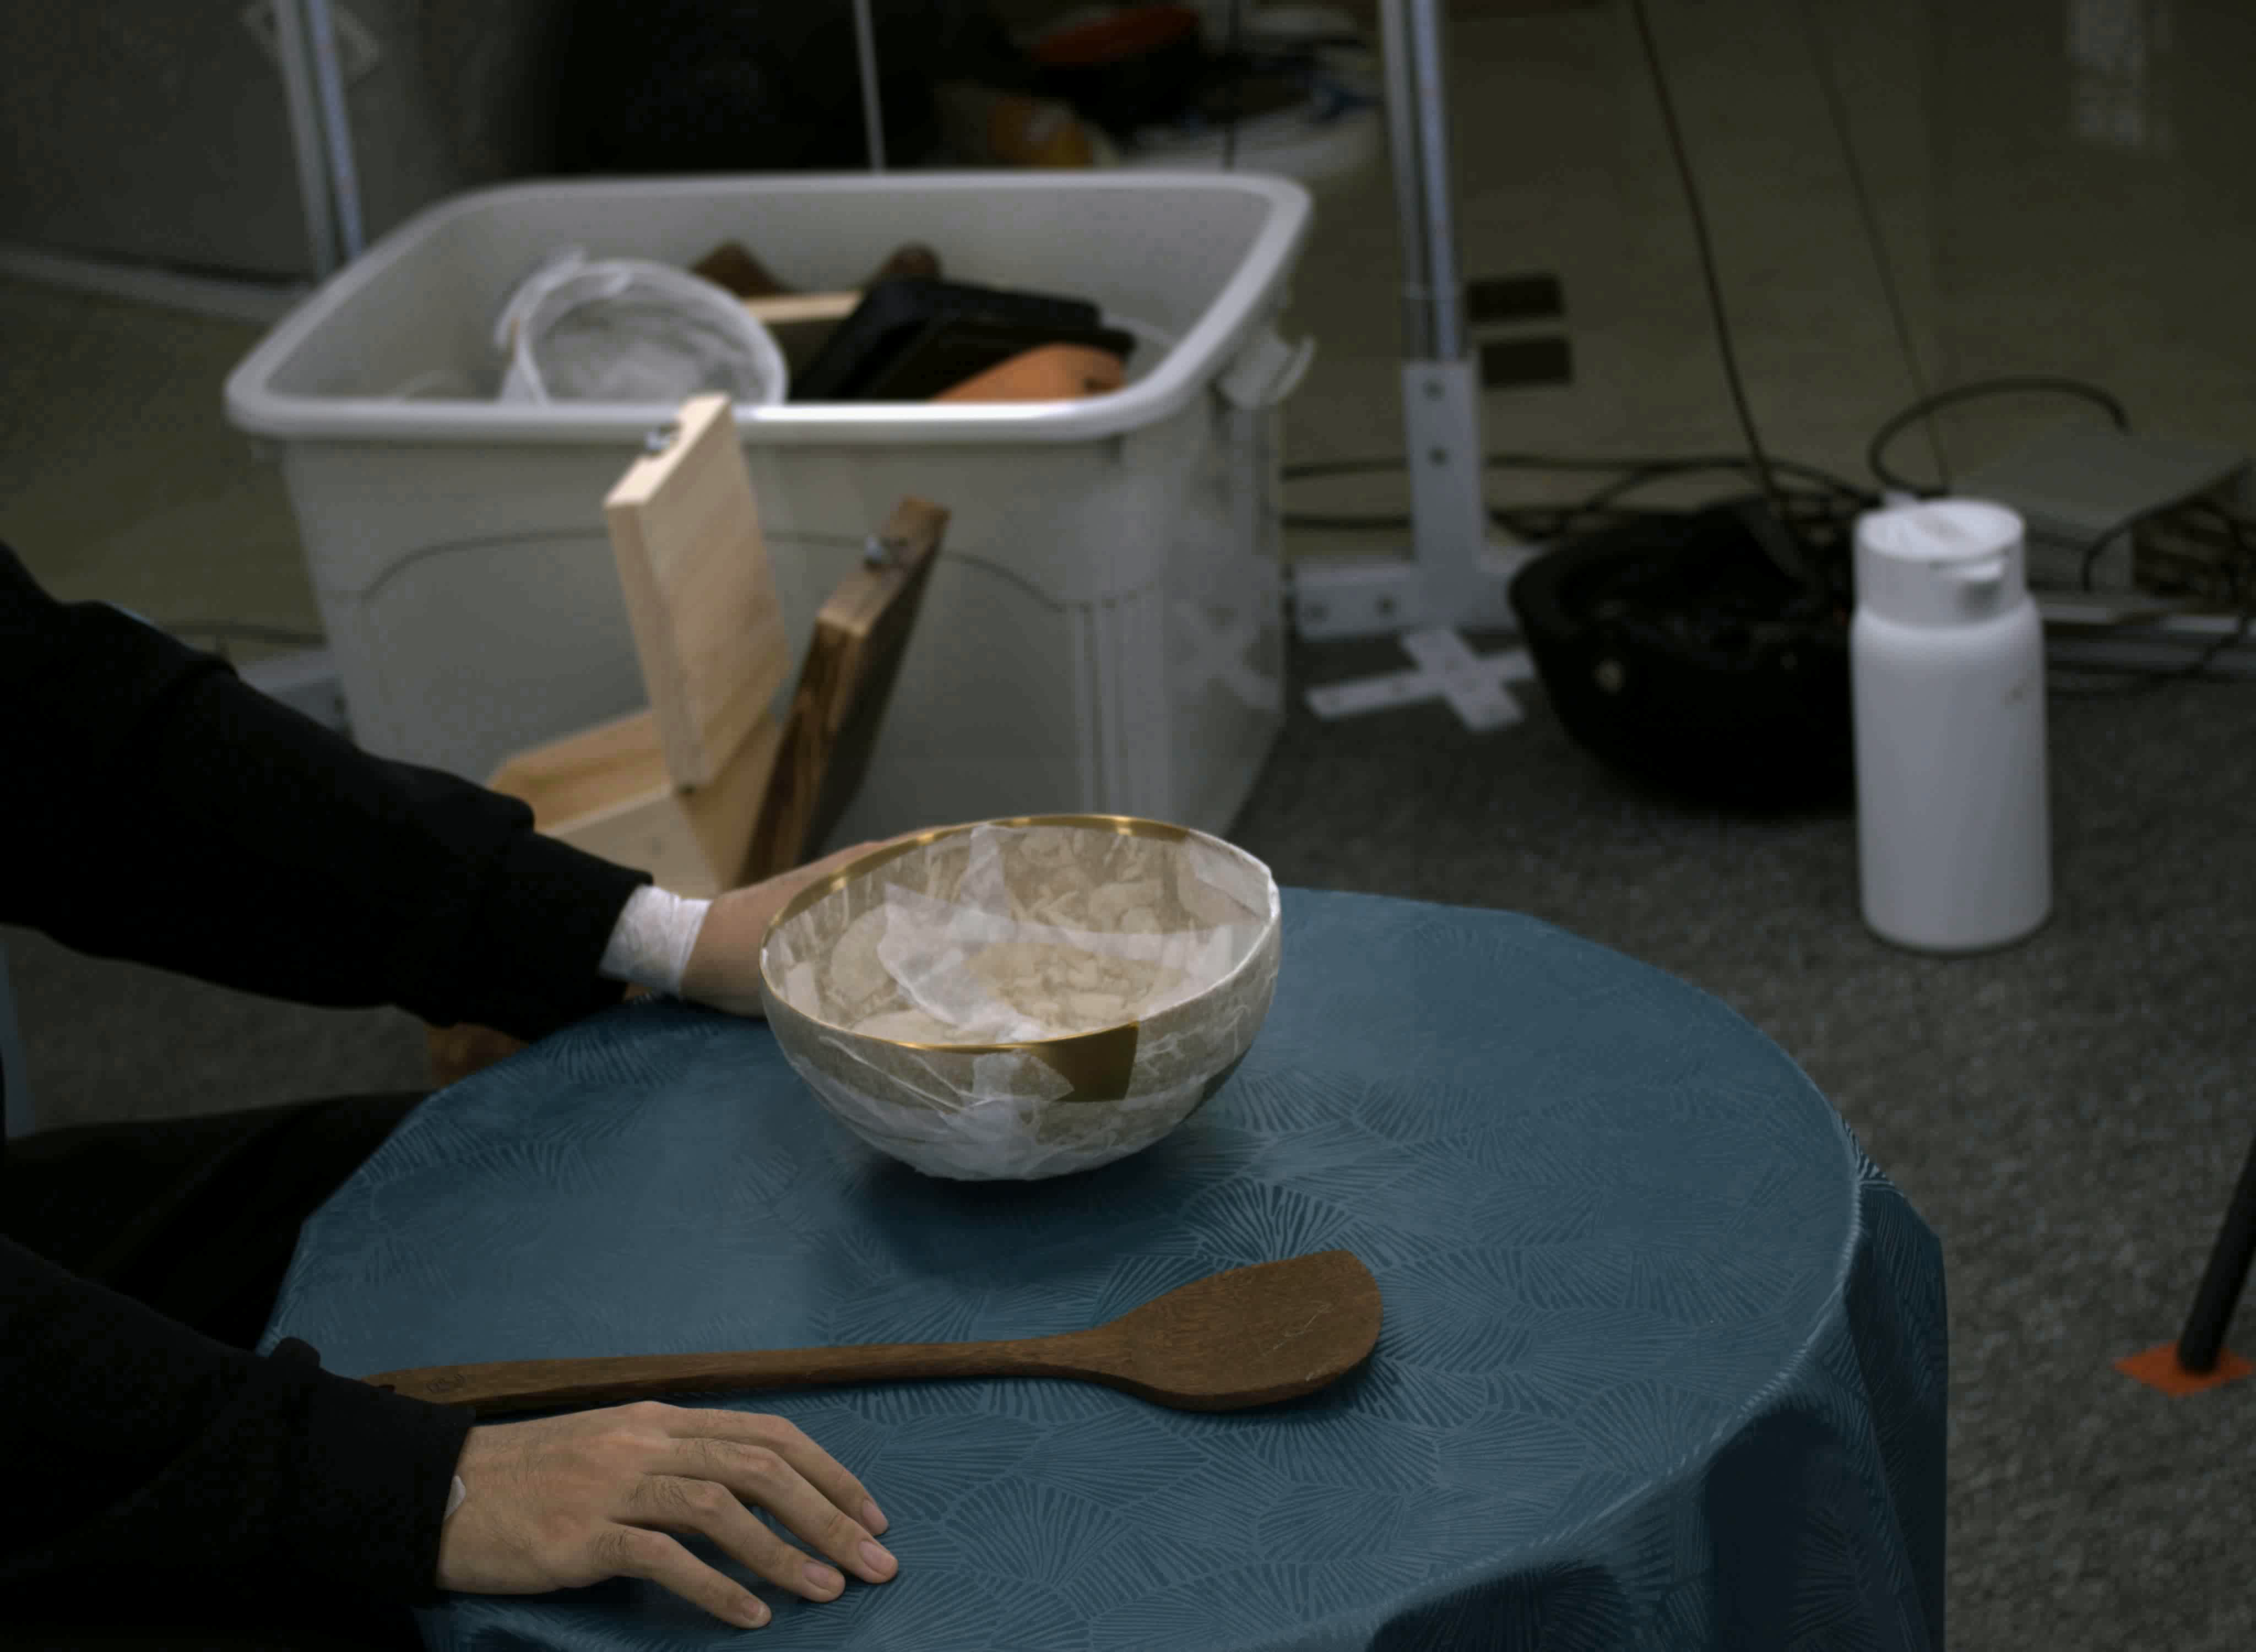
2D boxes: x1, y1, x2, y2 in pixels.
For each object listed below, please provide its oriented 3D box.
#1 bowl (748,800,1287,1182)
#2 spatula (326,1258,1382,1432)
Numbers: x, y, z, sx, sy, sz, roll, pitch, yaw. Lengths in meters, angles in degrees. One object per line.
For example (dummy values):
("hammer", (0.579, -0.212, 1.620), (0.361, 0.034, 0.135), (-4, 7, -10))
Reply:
("bowl", (-0.039, 0.076, 2.184), (0.214, 0.096, 0.211), (-6, 27, 3))
("spatula", (-0.101, 0.194, 2.043), (0.385, 0.016, 0.095), (-4, 24, 5))
